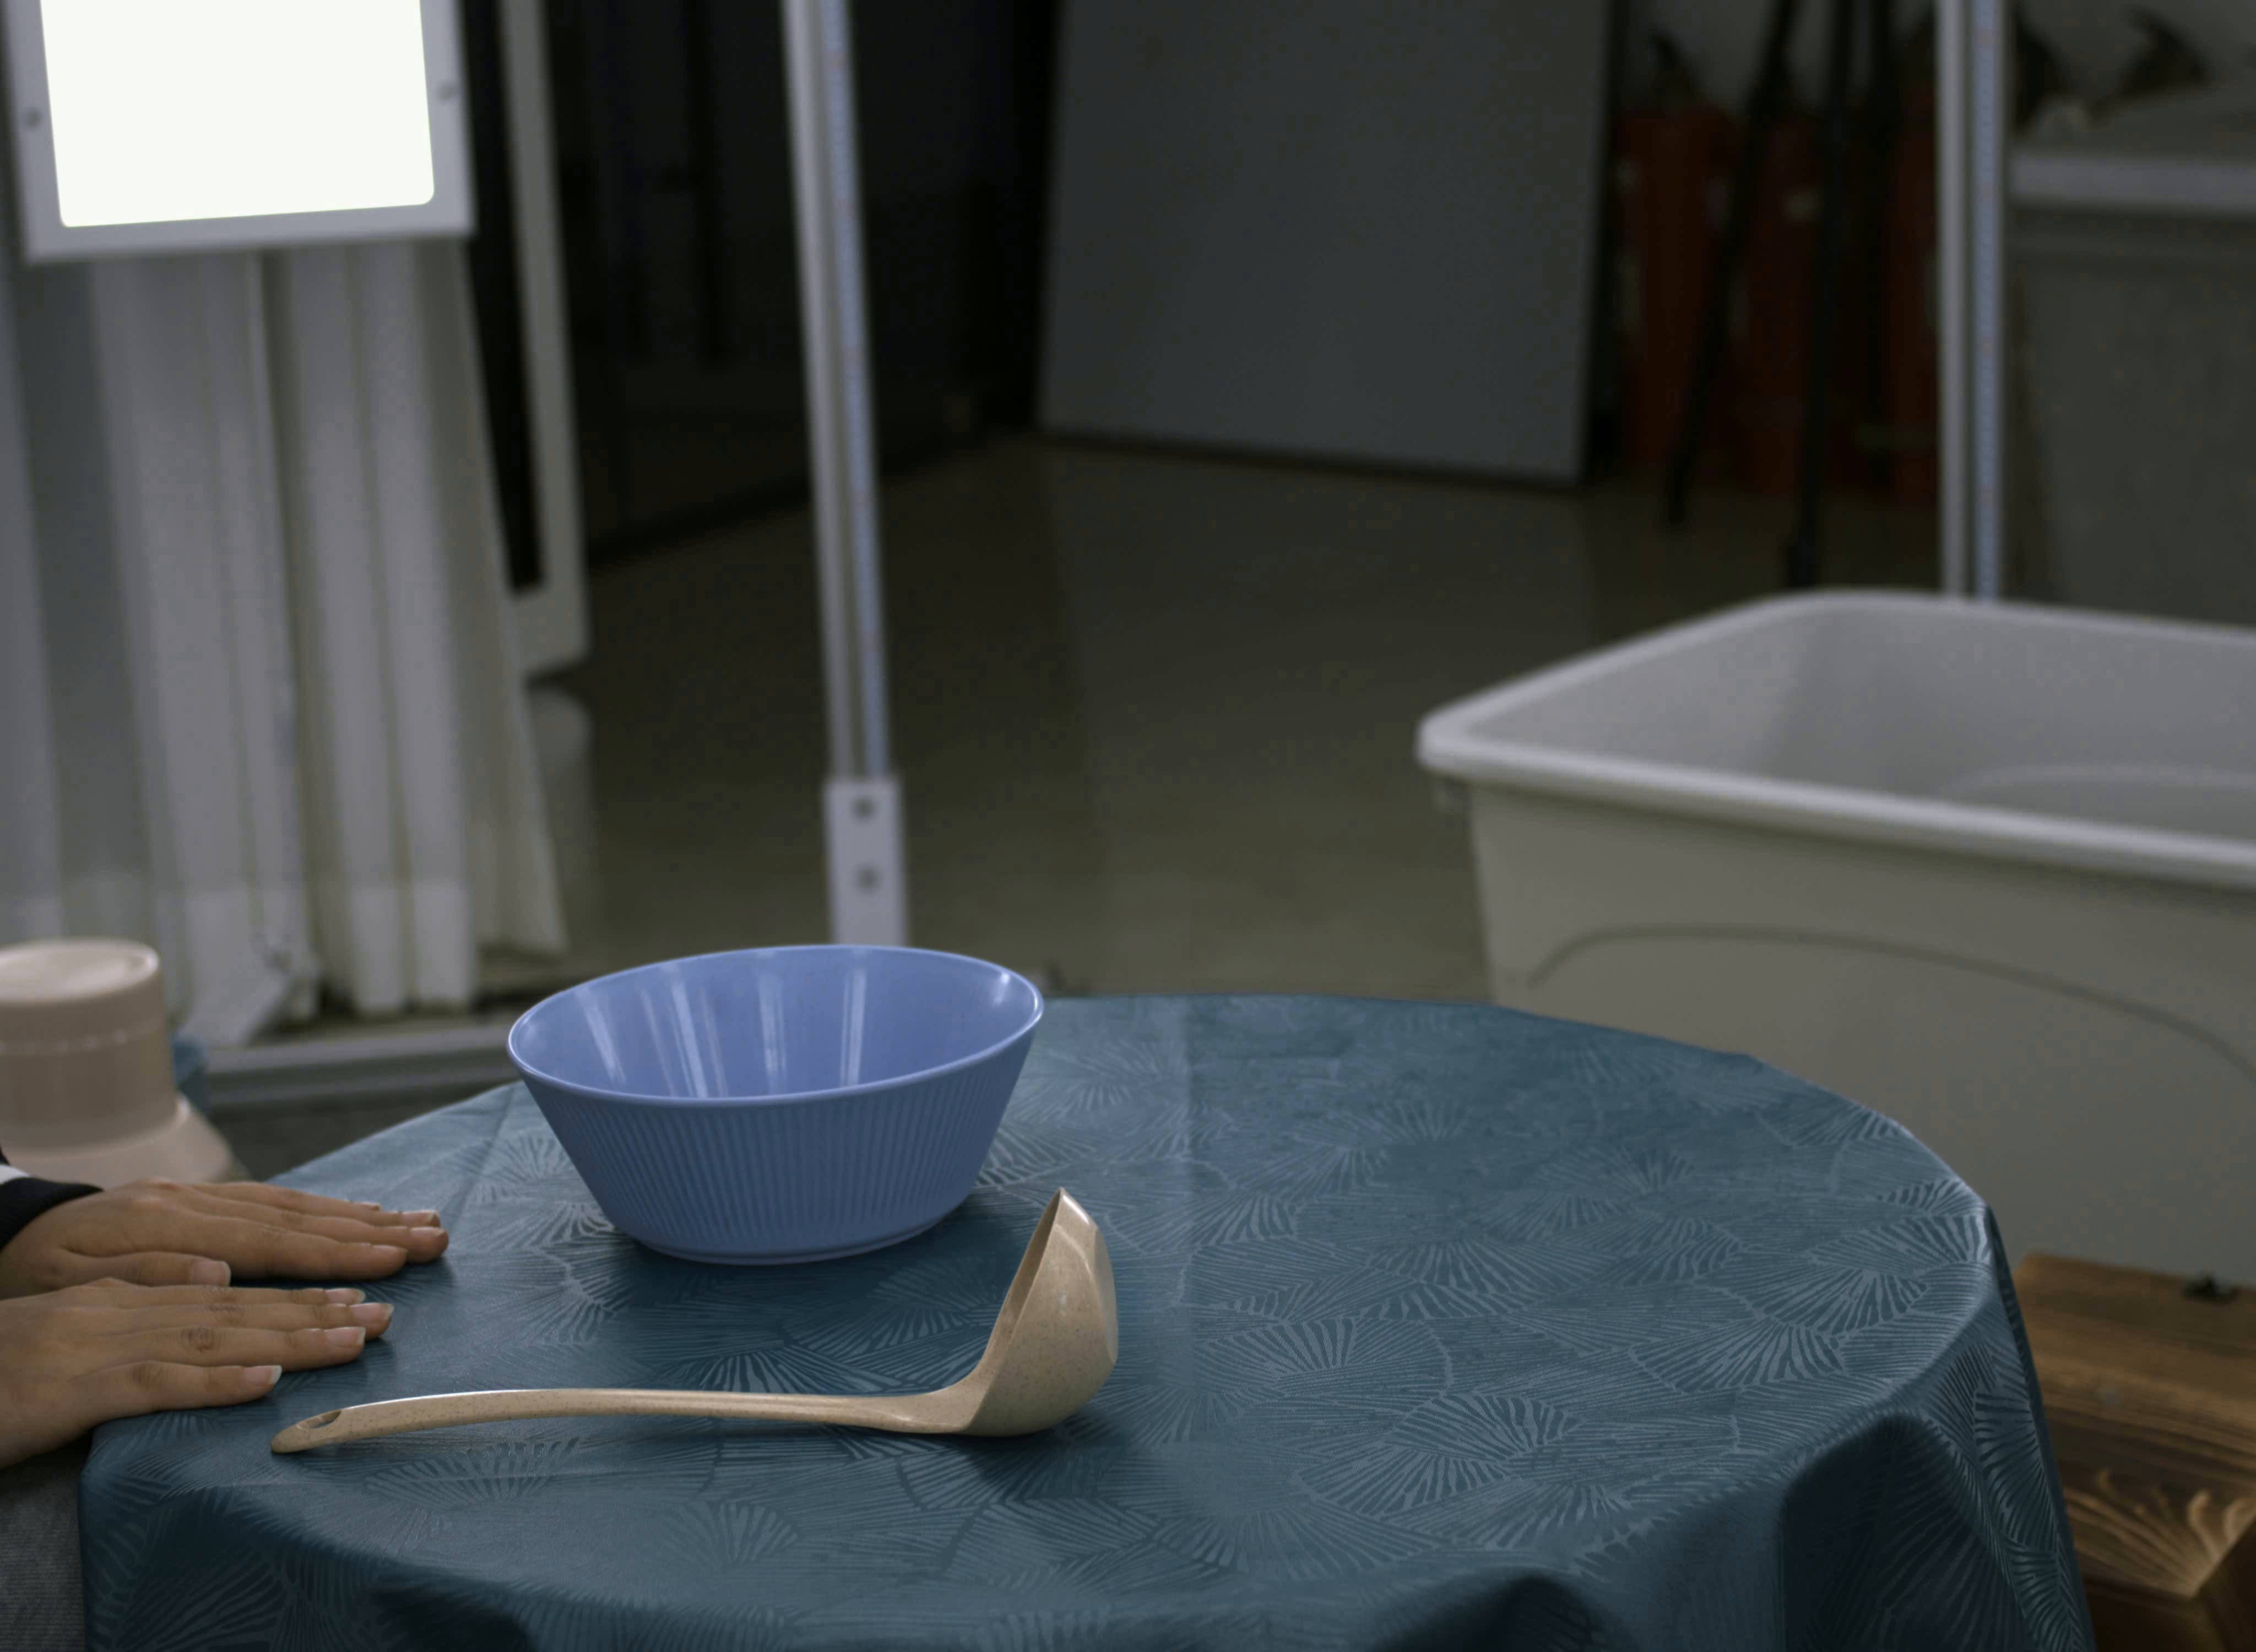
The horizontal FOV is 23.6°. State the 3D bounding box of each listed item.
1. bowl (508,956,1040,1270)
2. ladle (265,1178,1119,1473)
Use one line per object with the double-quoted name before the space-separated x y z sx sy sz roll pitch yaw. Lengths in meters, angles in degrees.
"bowl" -0.113 0.096 1.761 0.174 0.071 0.176 -4 13 0
"ladle" -0.129 0.144 1.560 0.252 0.073 0.072 -3 18 5
